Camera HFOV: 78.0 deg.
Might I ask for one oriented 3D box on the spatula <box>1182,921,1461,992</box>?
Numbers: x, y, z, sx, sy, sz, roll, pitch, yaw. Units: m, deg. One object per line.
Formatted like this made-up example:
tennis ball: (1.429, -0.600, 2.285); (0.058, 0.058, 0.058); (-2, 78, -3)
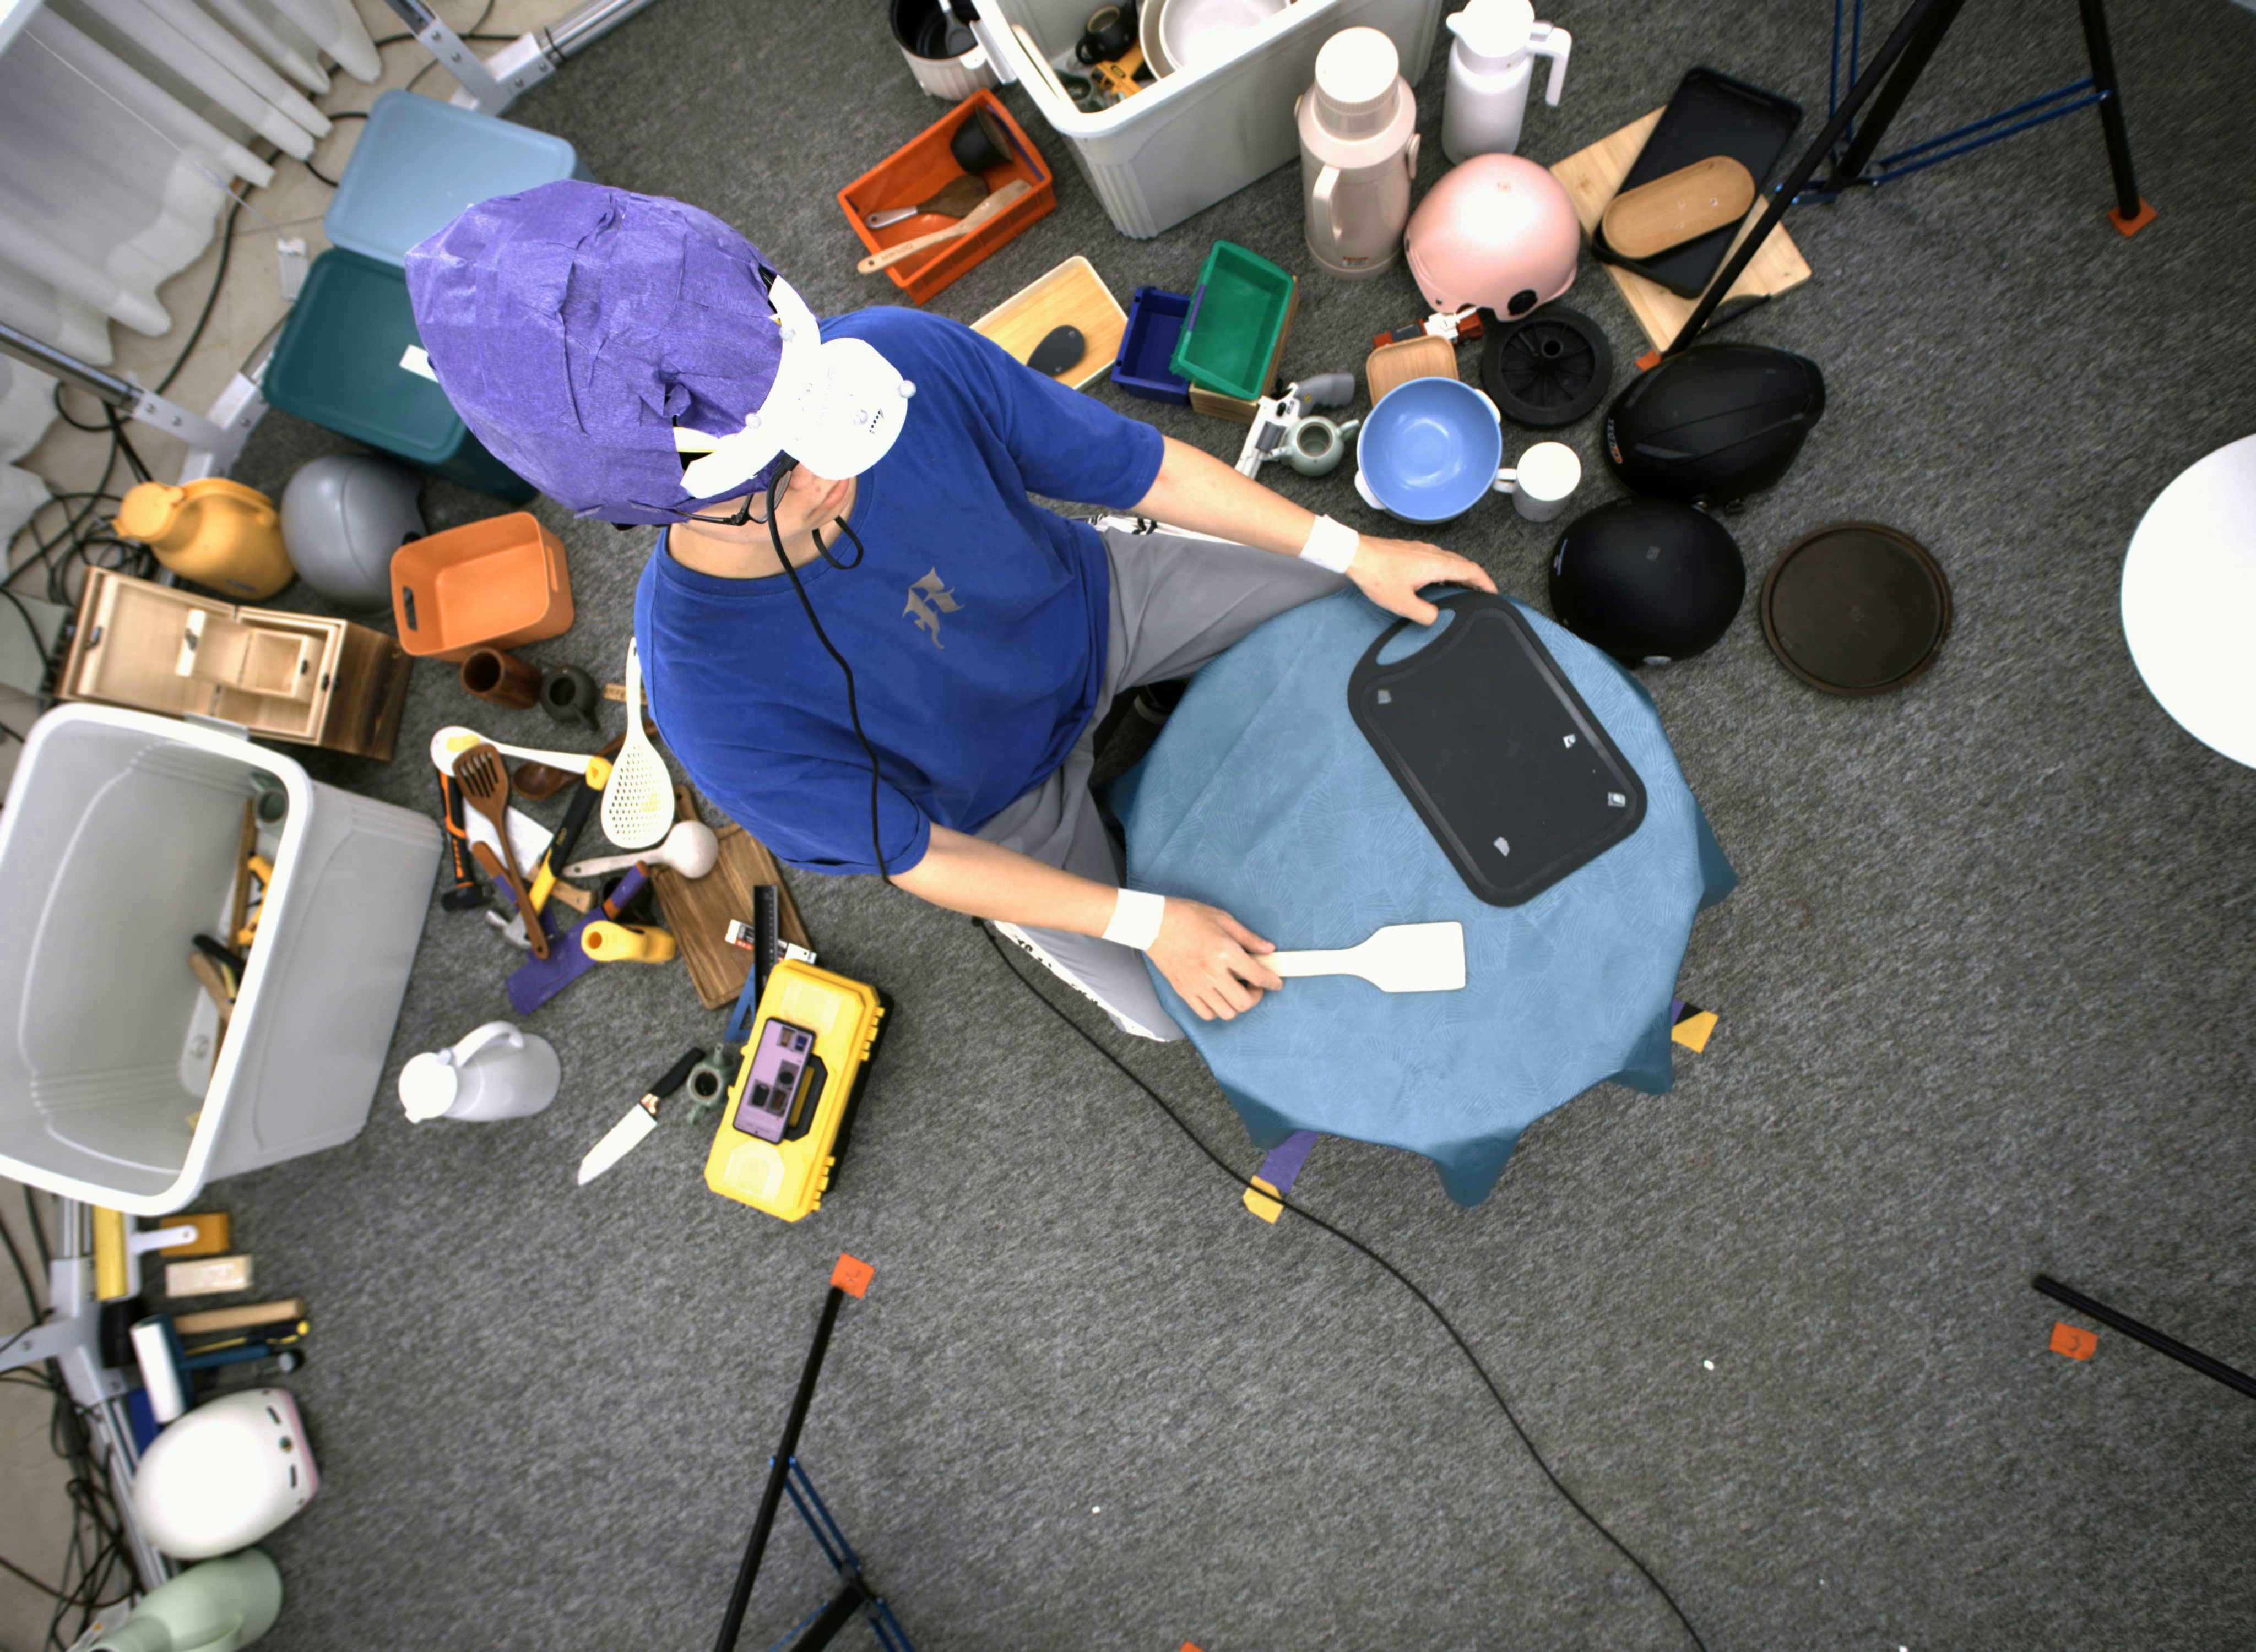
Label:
spatula: (0.202, 0.143, 1.463); (0.294, 0.010, 0.072); (-4, 87, 10)

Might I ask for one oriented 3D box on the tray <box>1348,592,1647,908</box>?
tray: (0.381, -0.091, 1.442); (0.212, 0.010, 0.323); (-33, 82, 7)
